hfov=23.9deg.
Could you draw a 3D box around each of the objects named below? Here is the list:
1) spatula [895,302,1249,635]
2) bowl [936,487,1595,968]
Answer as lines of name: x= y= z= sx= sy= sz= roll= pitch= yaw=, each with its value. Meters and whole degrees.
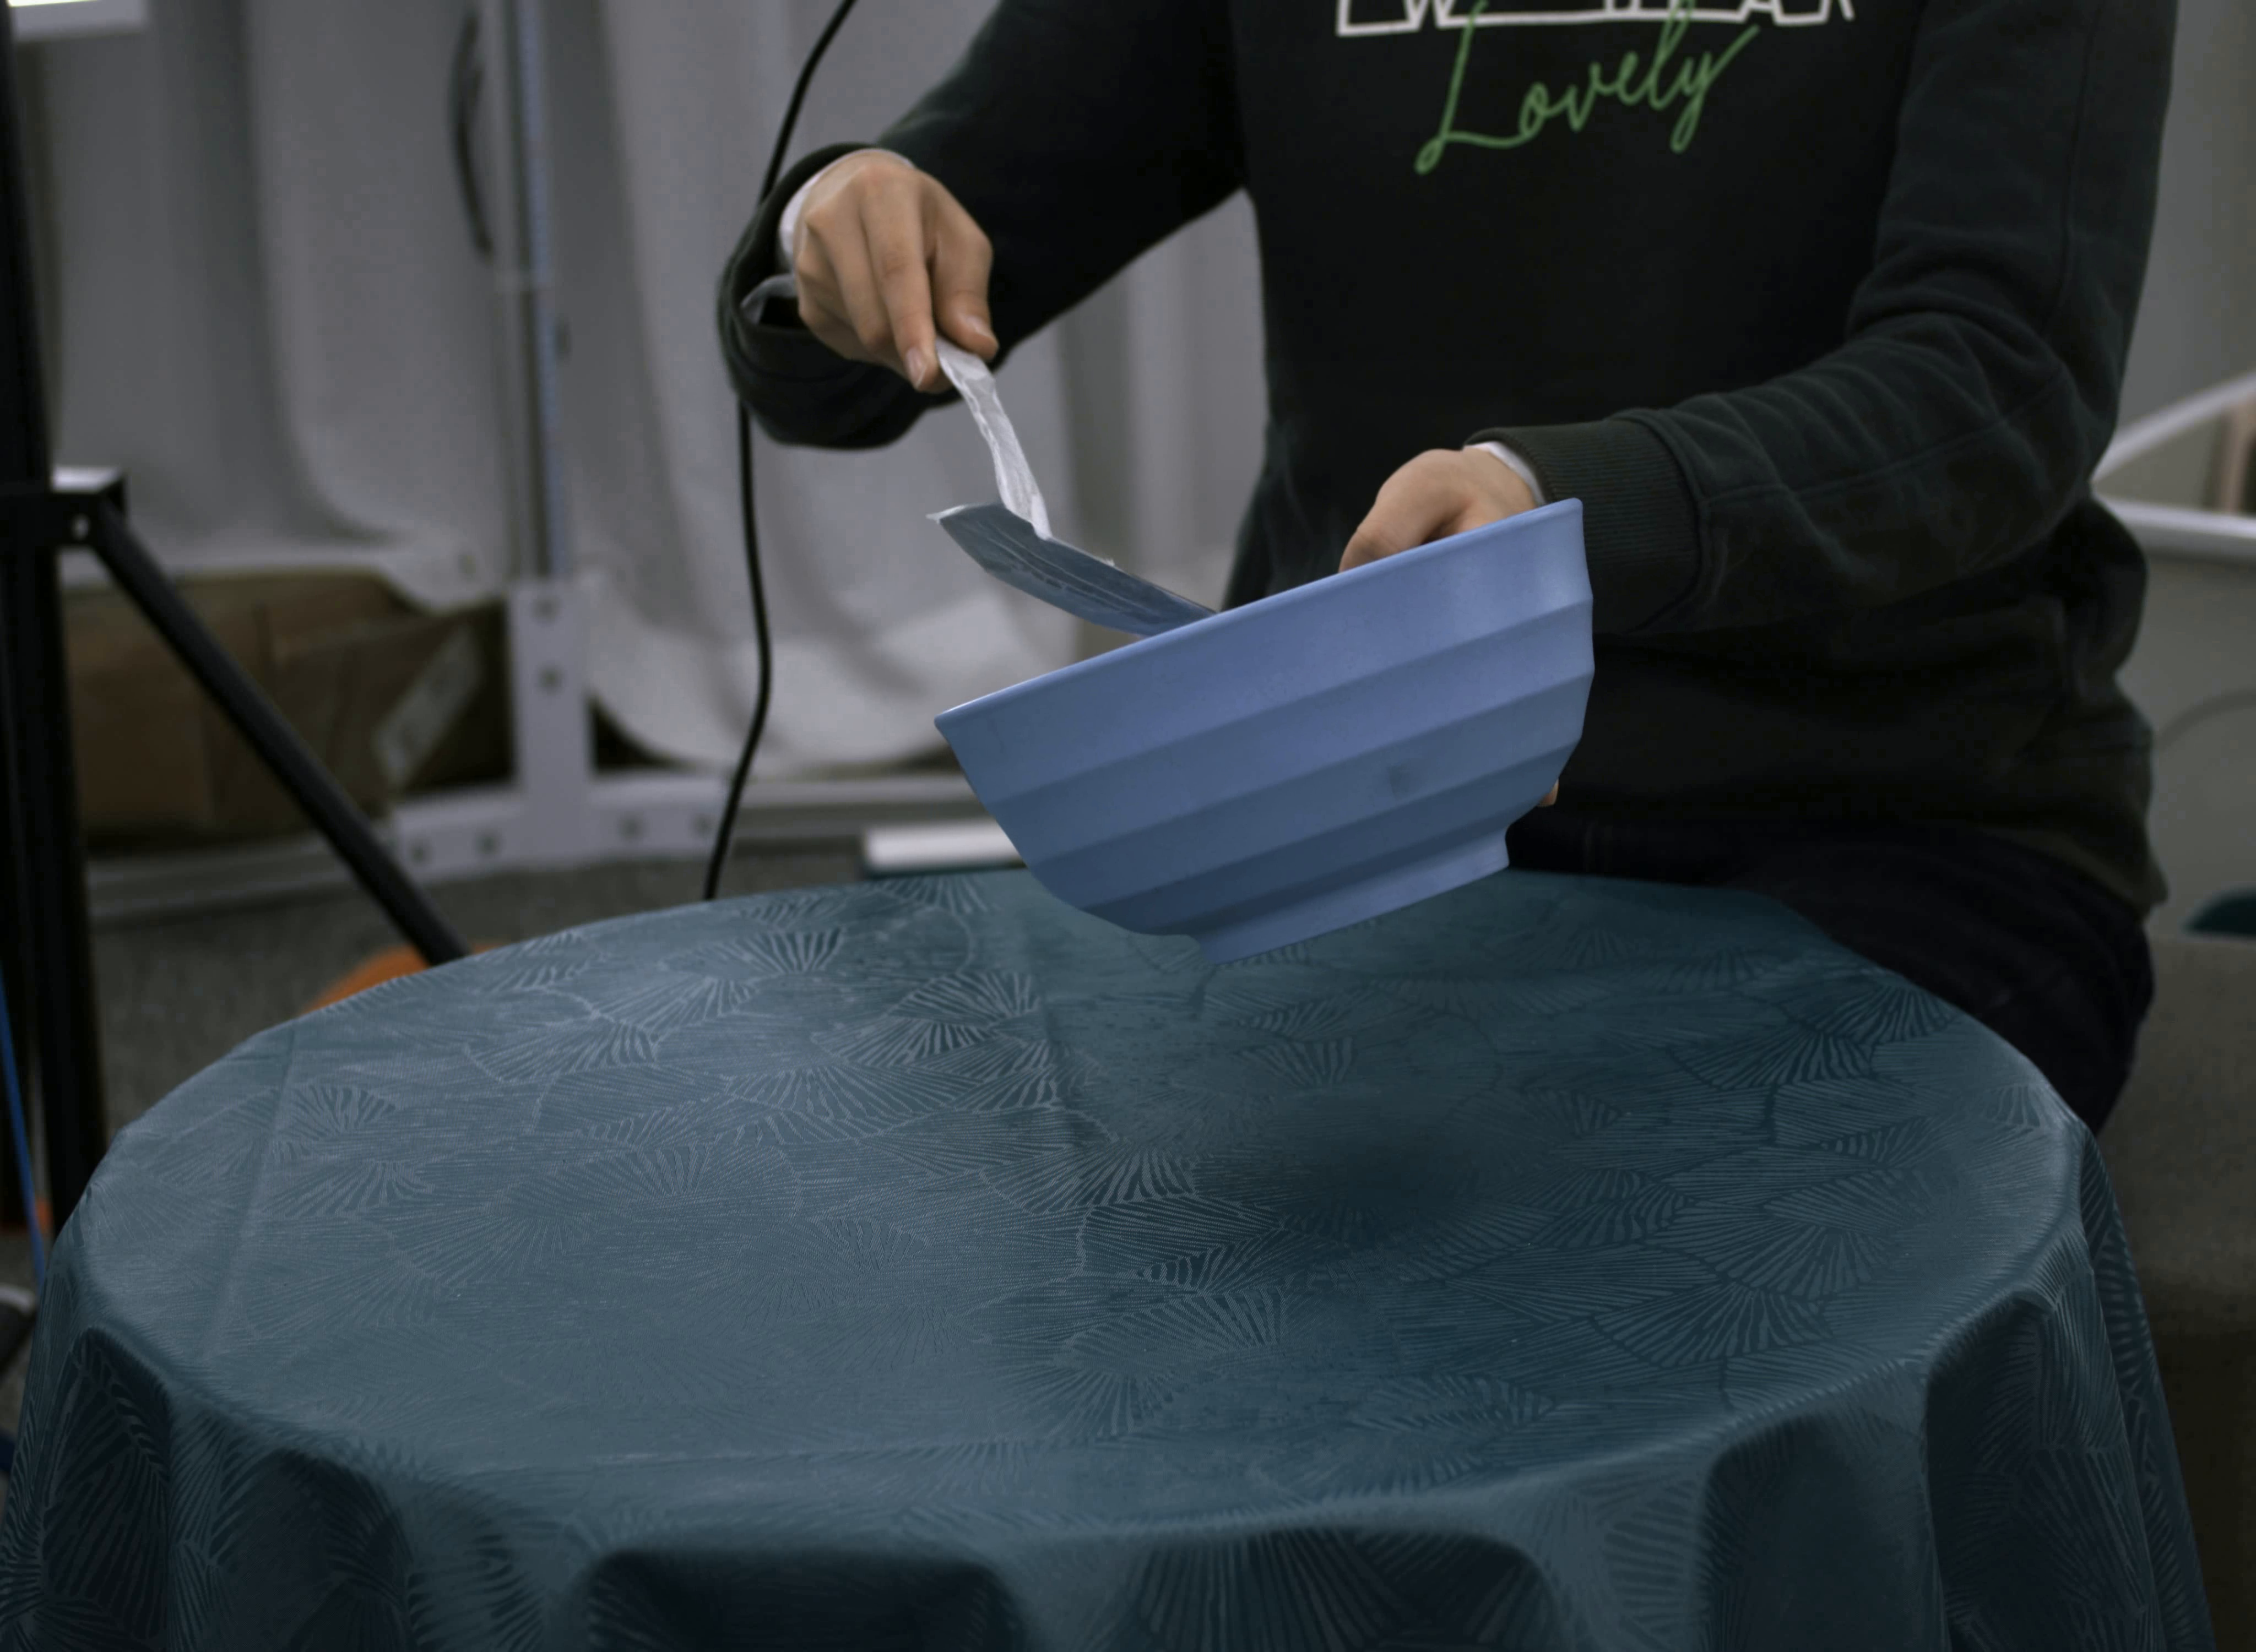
spatula: x=-0.034 y=-0.123 z=1.669 sx=0.097 sy=0.045 sz=0.370 roll=22 pitch=17 yaw=-19
bowl: x=0.052 y=-0.019 z=1.522 sx=0.195 sy=0.096 sz=0.196 roll=-20 pitch=0 yaw=-2
